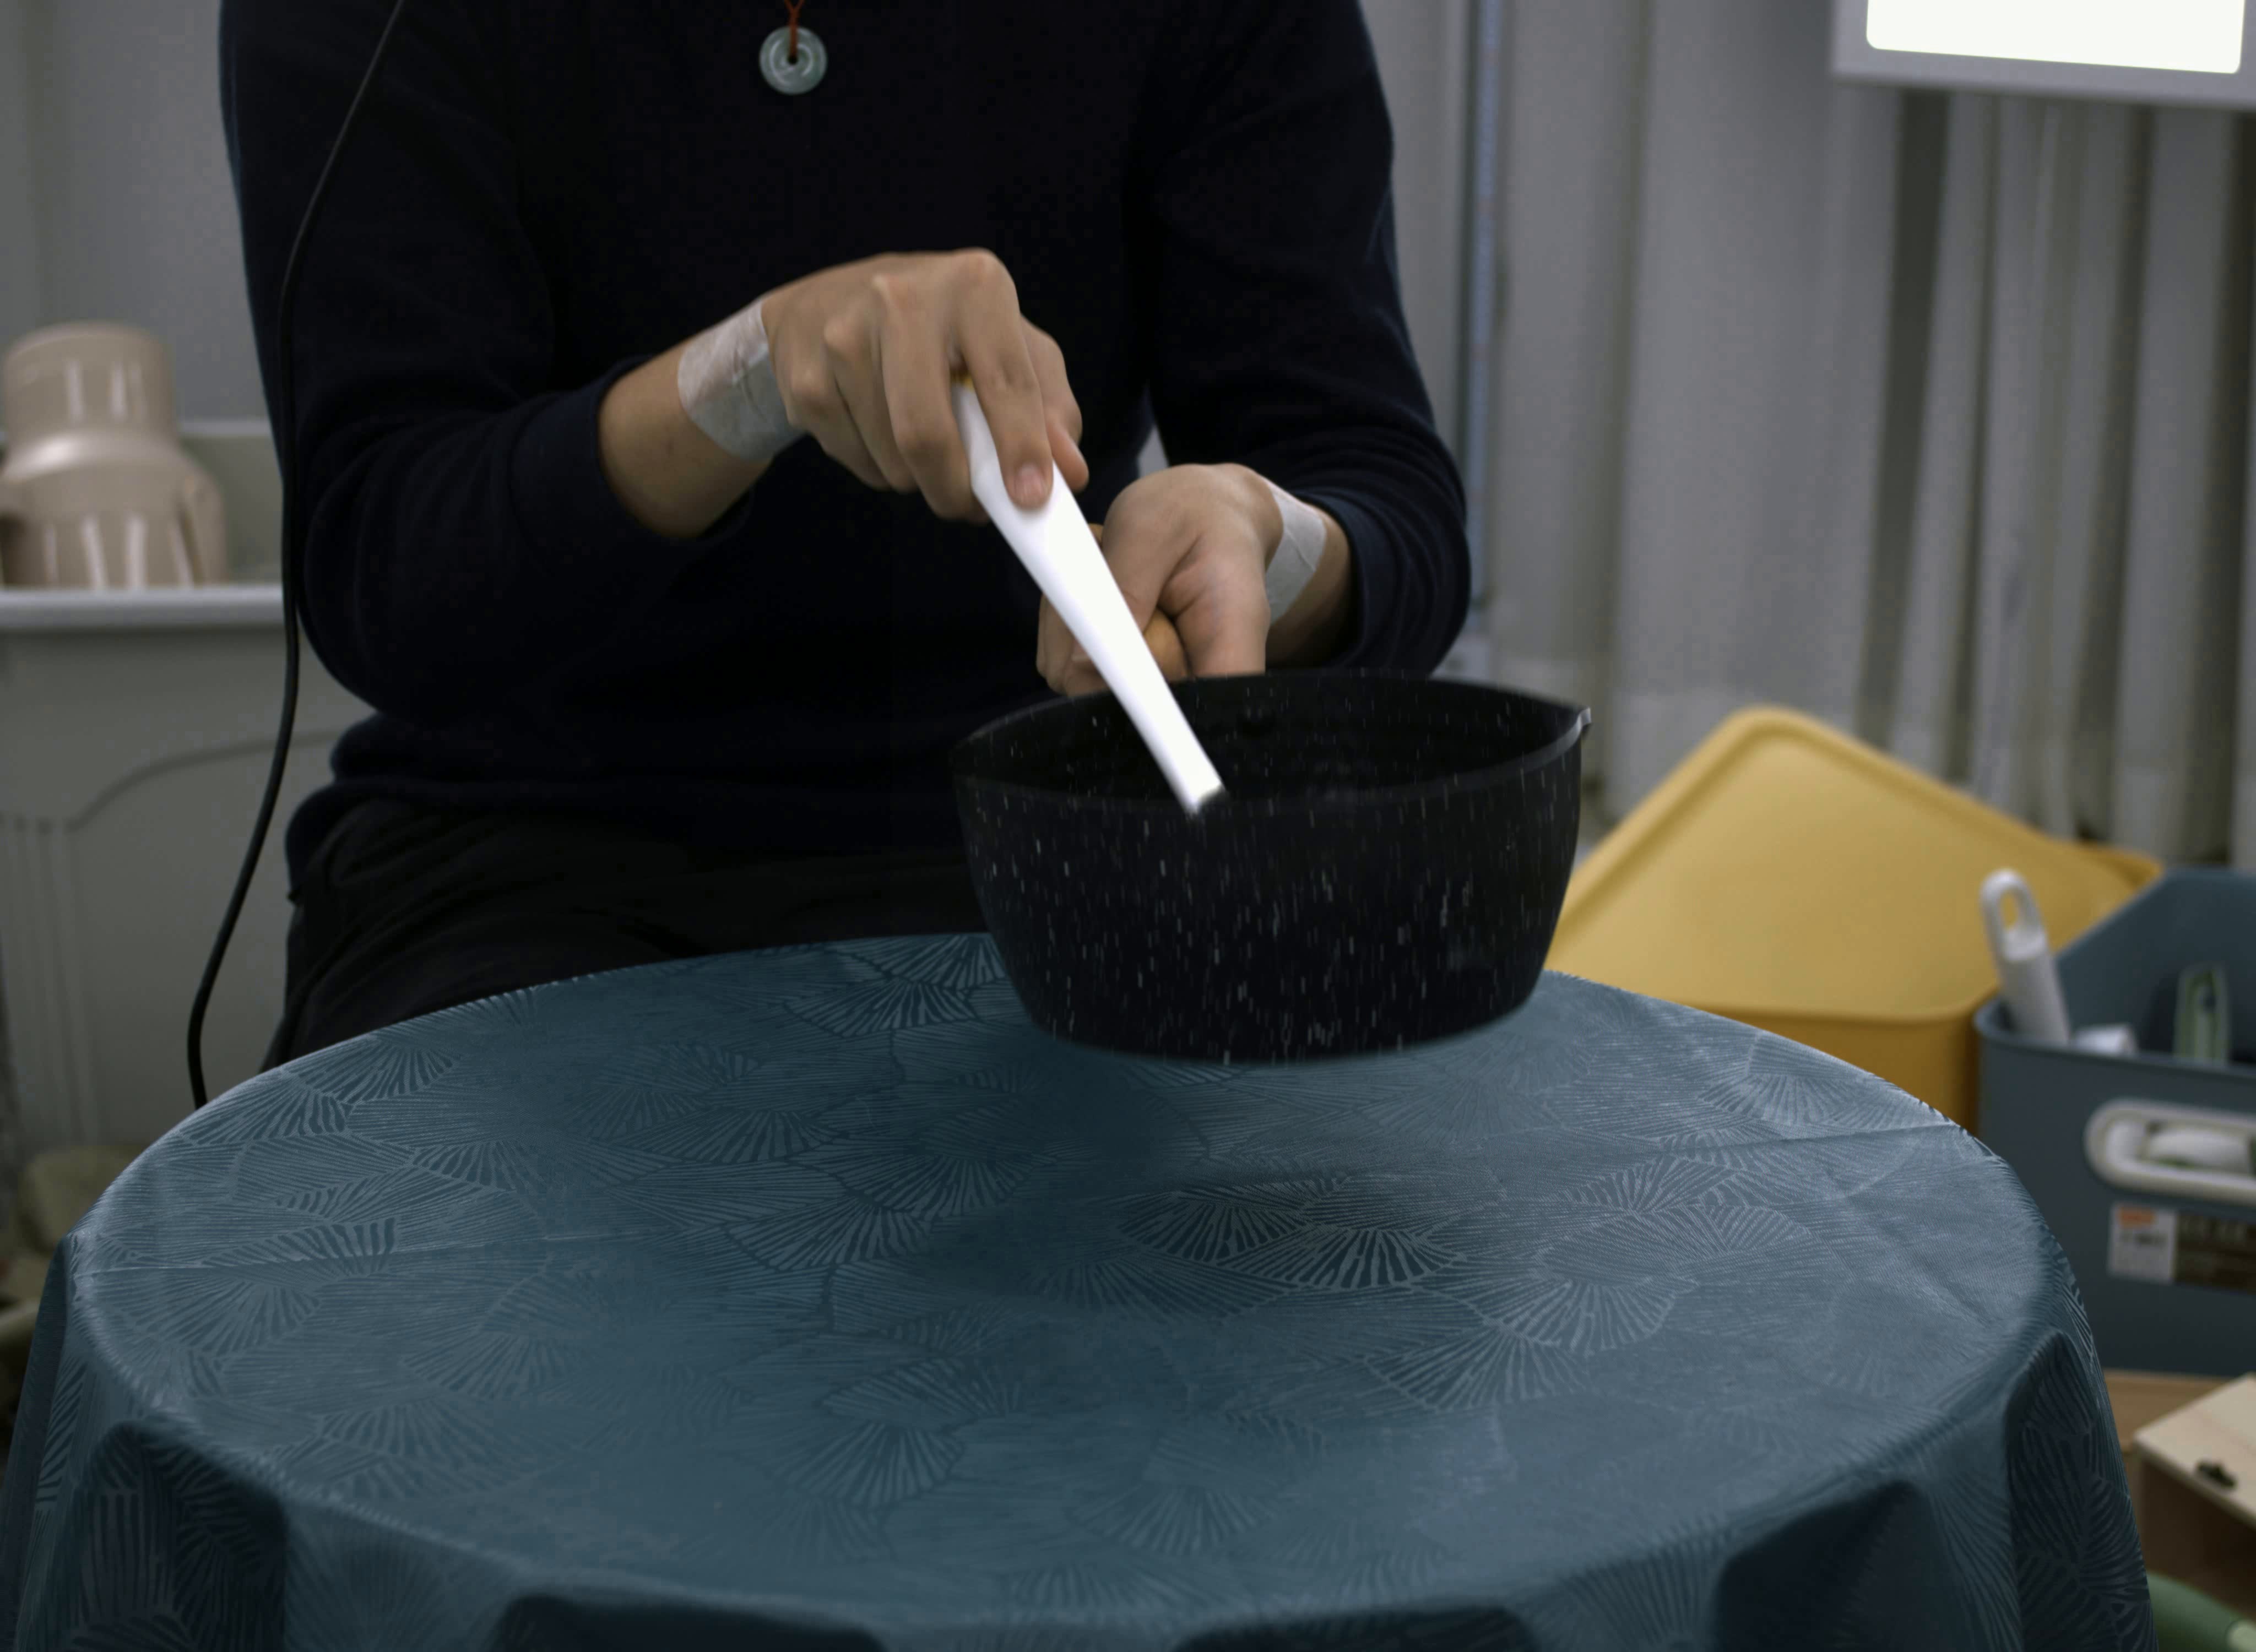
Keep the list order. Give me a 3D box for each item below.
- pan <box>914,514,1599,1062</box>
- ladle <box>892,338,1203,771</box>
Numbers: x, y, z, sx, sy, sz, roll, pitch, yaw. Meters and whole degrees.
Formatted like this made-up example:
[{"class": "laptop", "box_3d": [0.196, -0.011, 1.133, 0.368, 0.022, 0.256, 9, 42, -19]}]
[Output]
[{"class": "pan", "box_3d": [0.024, -0.018, 1.641, 0.207, 0.109, 0.340, -7, 14, -13]}, {"class": "ladle", "box_3d": [-0.005, -0.065, 1.621, 0.090, 0.071, 0.289, -18, 50, -16]}]
